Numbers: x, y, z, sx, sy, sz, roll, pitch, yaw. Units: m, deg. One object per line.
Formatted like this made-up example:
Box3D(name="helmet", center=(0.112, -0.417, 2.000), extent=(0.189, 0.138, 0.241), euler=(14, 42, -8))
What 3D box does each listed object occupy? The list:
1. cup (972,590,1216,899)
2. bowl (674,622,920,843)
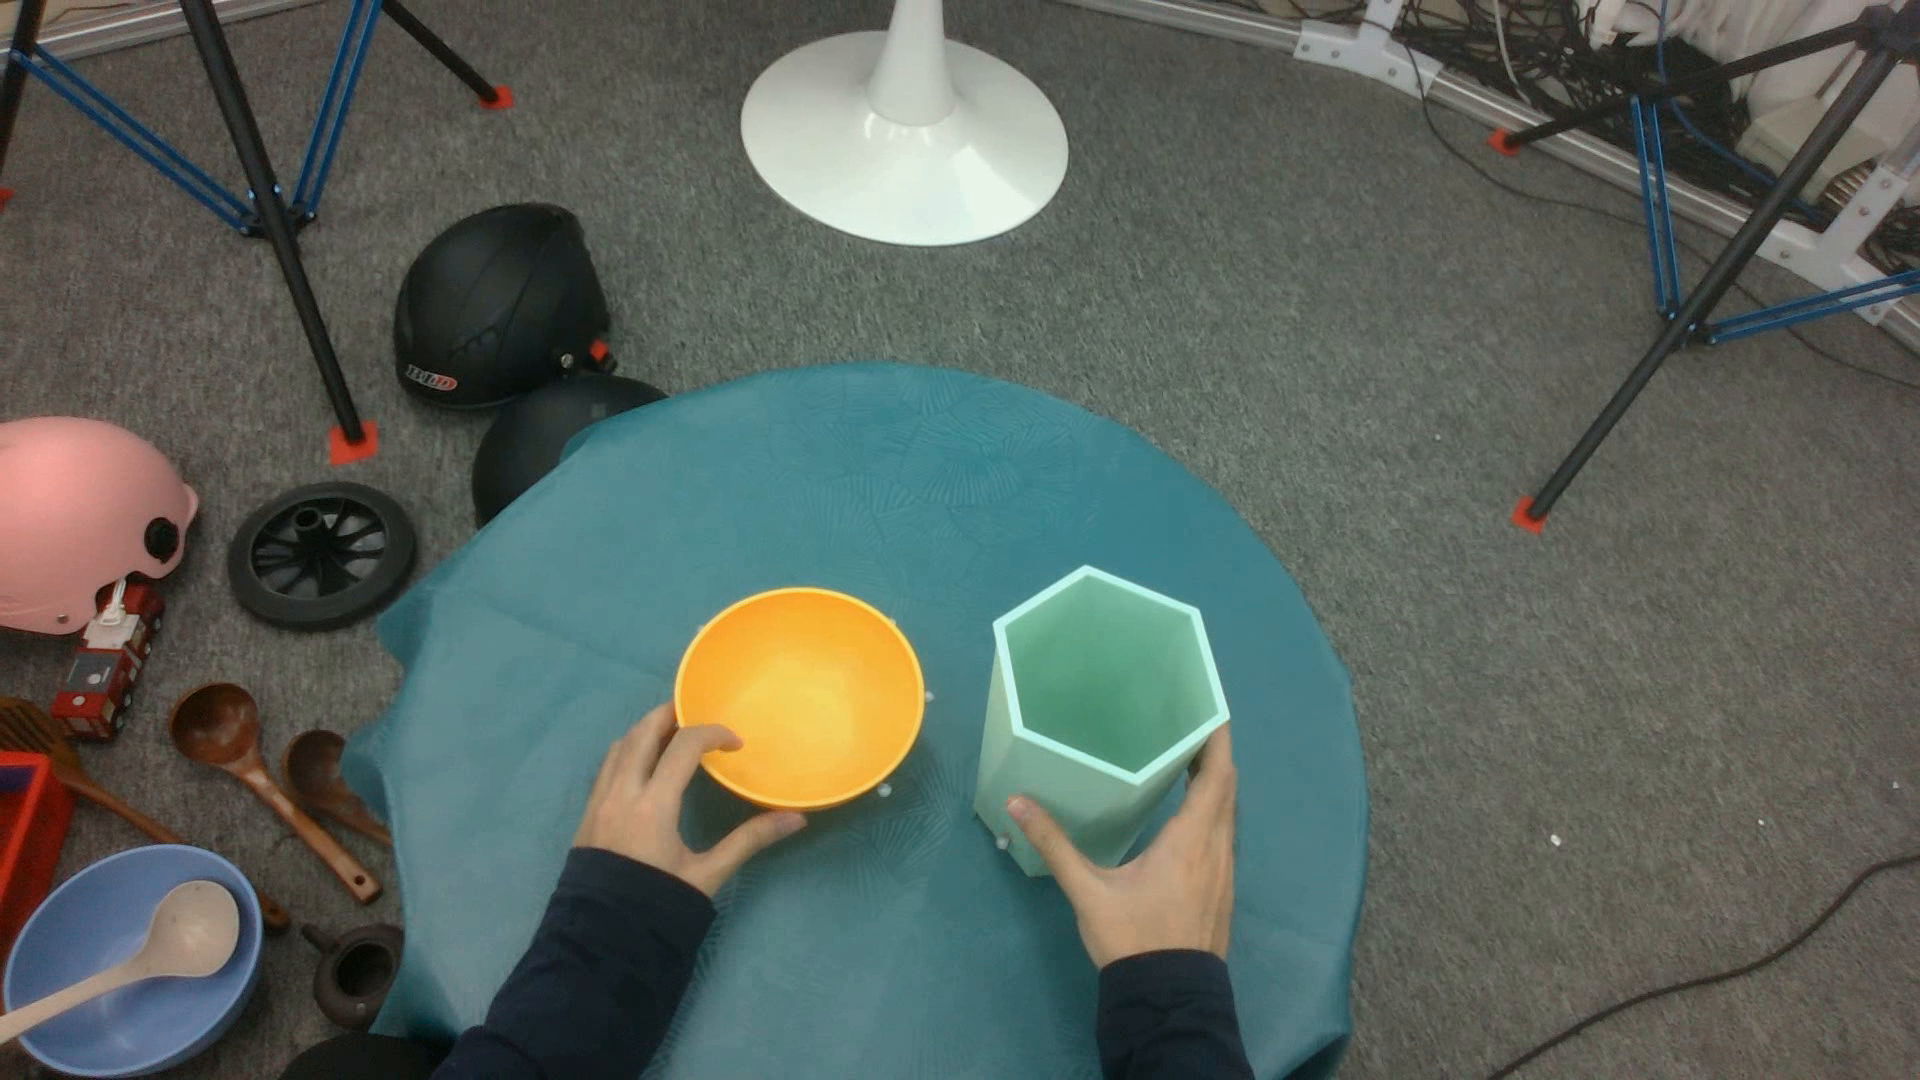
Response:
Box3D(name="cup", center=(0.065, 0.126, 0.785), extent=(0.131, 0.162, 0.116), euler=(19, 53, 8))
Box3D(name="bowl", center=(-0.098, 0.125, 0.833), extent=(0.145, 0.060, 0.146), euler=(3, 53, -4))
